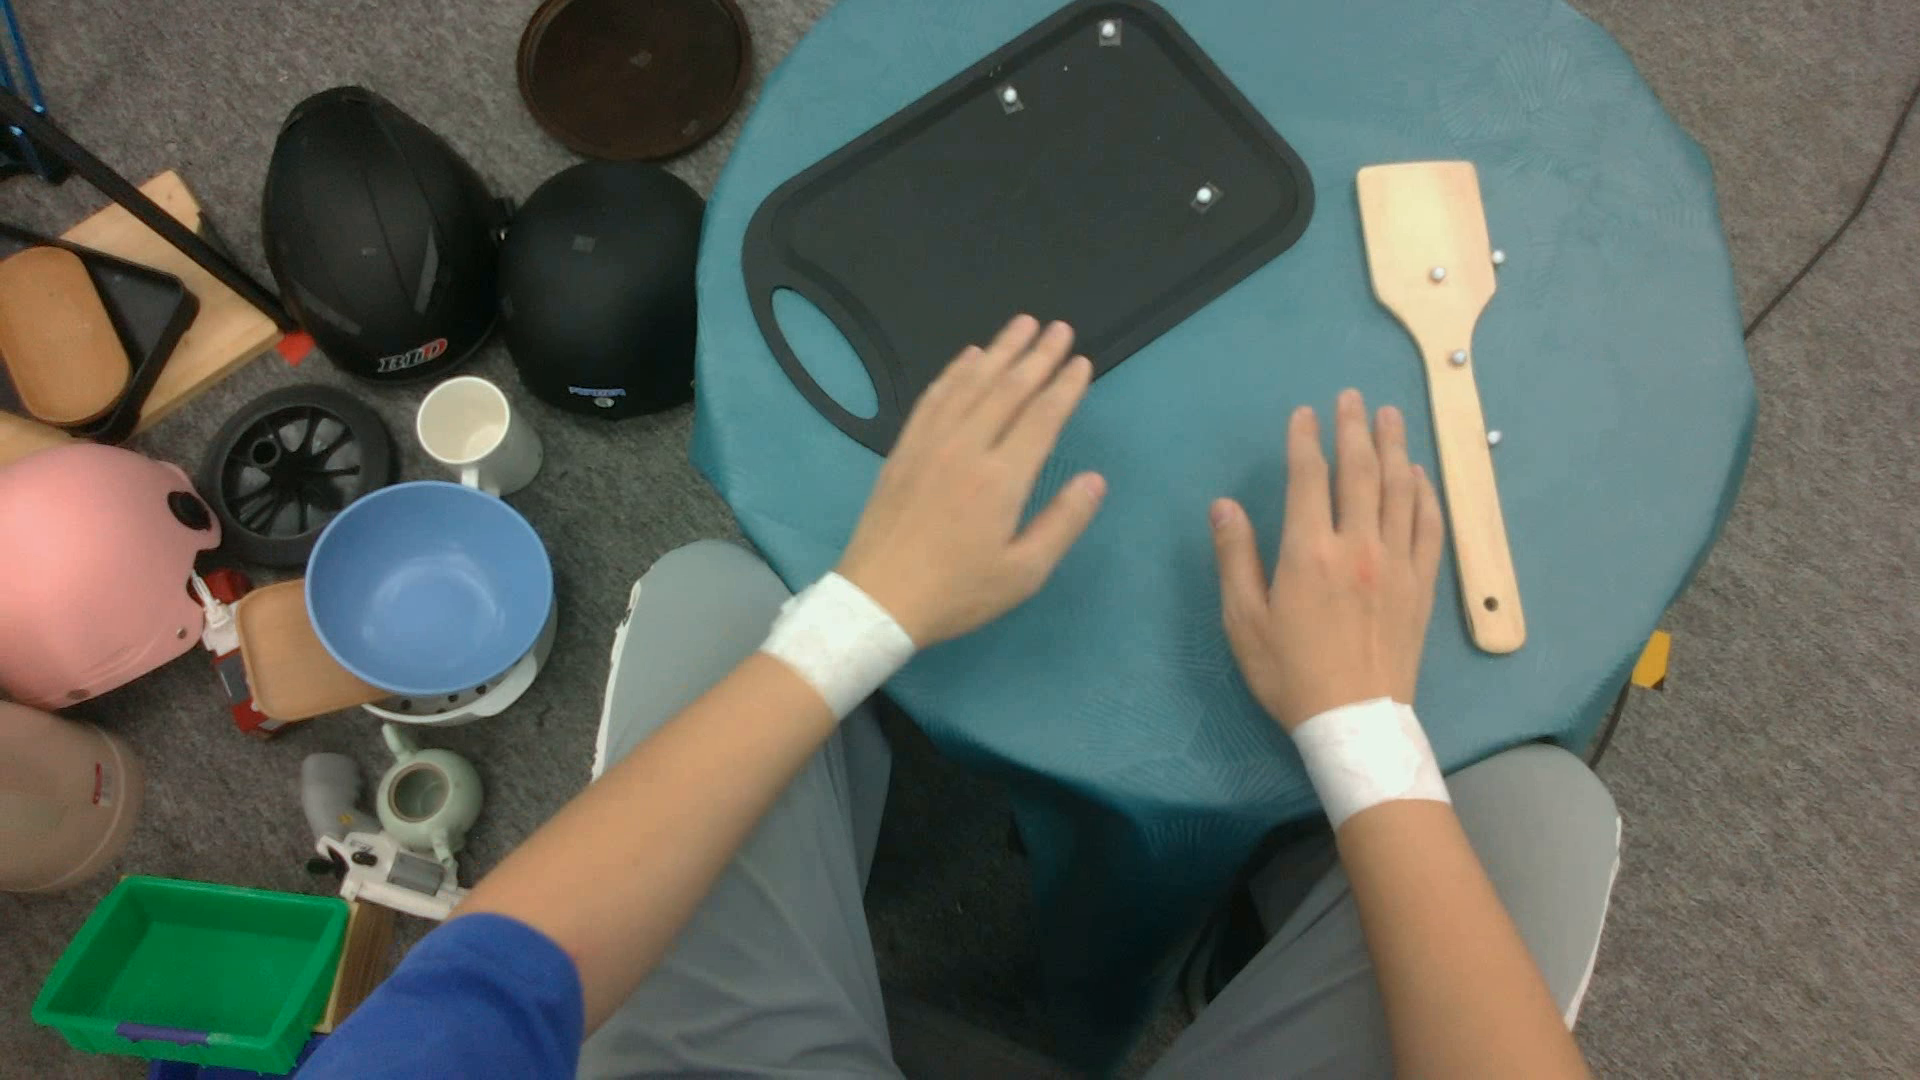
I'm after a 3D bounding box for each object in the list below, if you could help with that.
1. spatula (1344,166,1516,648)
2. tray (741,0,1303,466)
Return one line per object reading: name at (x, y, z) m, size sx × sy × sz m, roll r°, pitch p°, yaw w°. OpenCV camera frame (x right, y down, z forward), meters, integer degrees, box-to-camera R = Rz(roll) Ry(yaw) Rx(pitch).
spatula at (0.275, -0.082, 0.778) m, size 0.072 × 0.010 × 0.294 m, roll -4°, pitch 72°, yaw -1°
tray at (0.031, -0.186, 0.819) m, size 0.326 × 0.010 × 0.211 m, roll -35°, pitch 75°, yaw -9°
